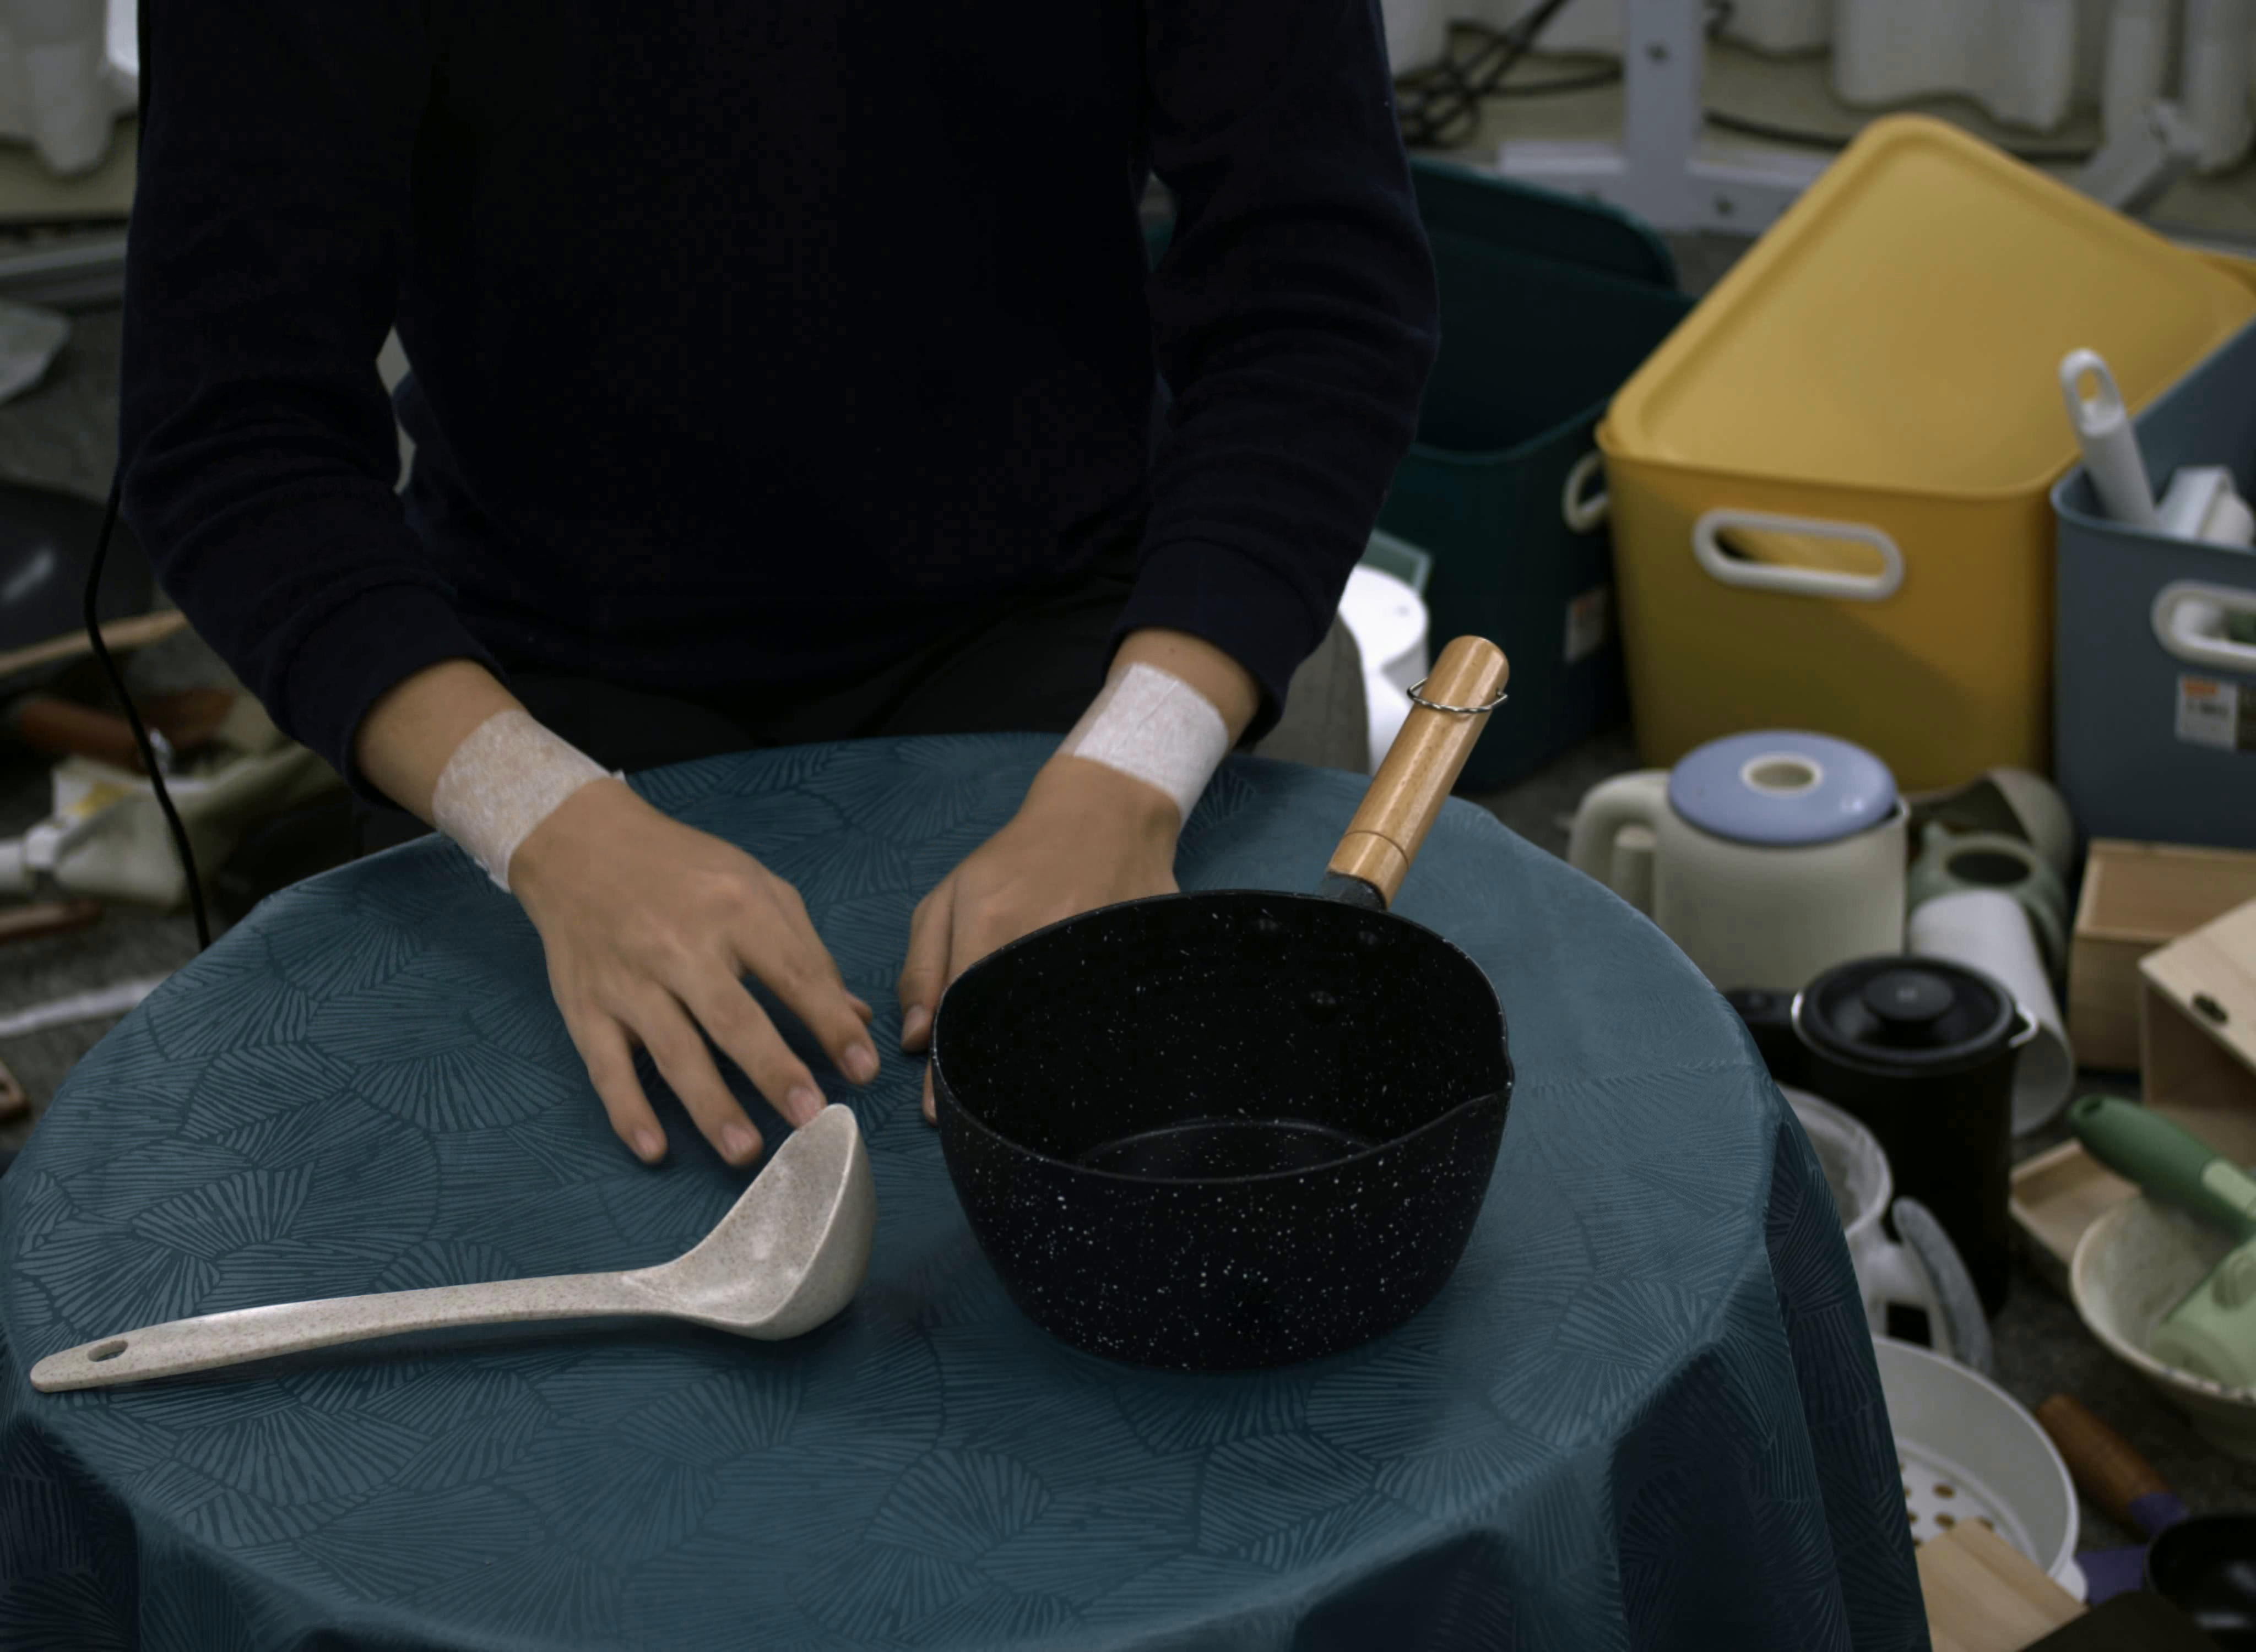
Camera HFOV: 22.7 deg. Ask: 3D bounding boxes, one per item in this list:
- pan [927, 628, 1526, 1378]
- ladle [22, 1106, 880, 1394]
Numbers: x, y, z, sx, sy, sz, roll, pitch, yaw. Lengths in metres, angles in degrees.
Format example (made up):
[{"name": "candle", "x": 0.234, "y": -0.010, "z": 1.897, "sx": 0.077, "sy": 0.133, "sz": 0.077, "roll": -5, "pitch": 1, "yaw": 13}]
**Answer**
[{"name": "pan", "x": 0.059, "y": 0.055, "z": 1.869, "sx": 0.206, "sy": 0.107, "sz": 0.349, "roll": 7, "pitch": 30, "yaw": 21}, {"name": "ladle", "x": -0.215, "y": 0.137, "z": 1.780, "sx": 0.274, "sy": 0.068, "sz": 0.091, "roll": -5, "pitch": 32, "yaw": -4}]
